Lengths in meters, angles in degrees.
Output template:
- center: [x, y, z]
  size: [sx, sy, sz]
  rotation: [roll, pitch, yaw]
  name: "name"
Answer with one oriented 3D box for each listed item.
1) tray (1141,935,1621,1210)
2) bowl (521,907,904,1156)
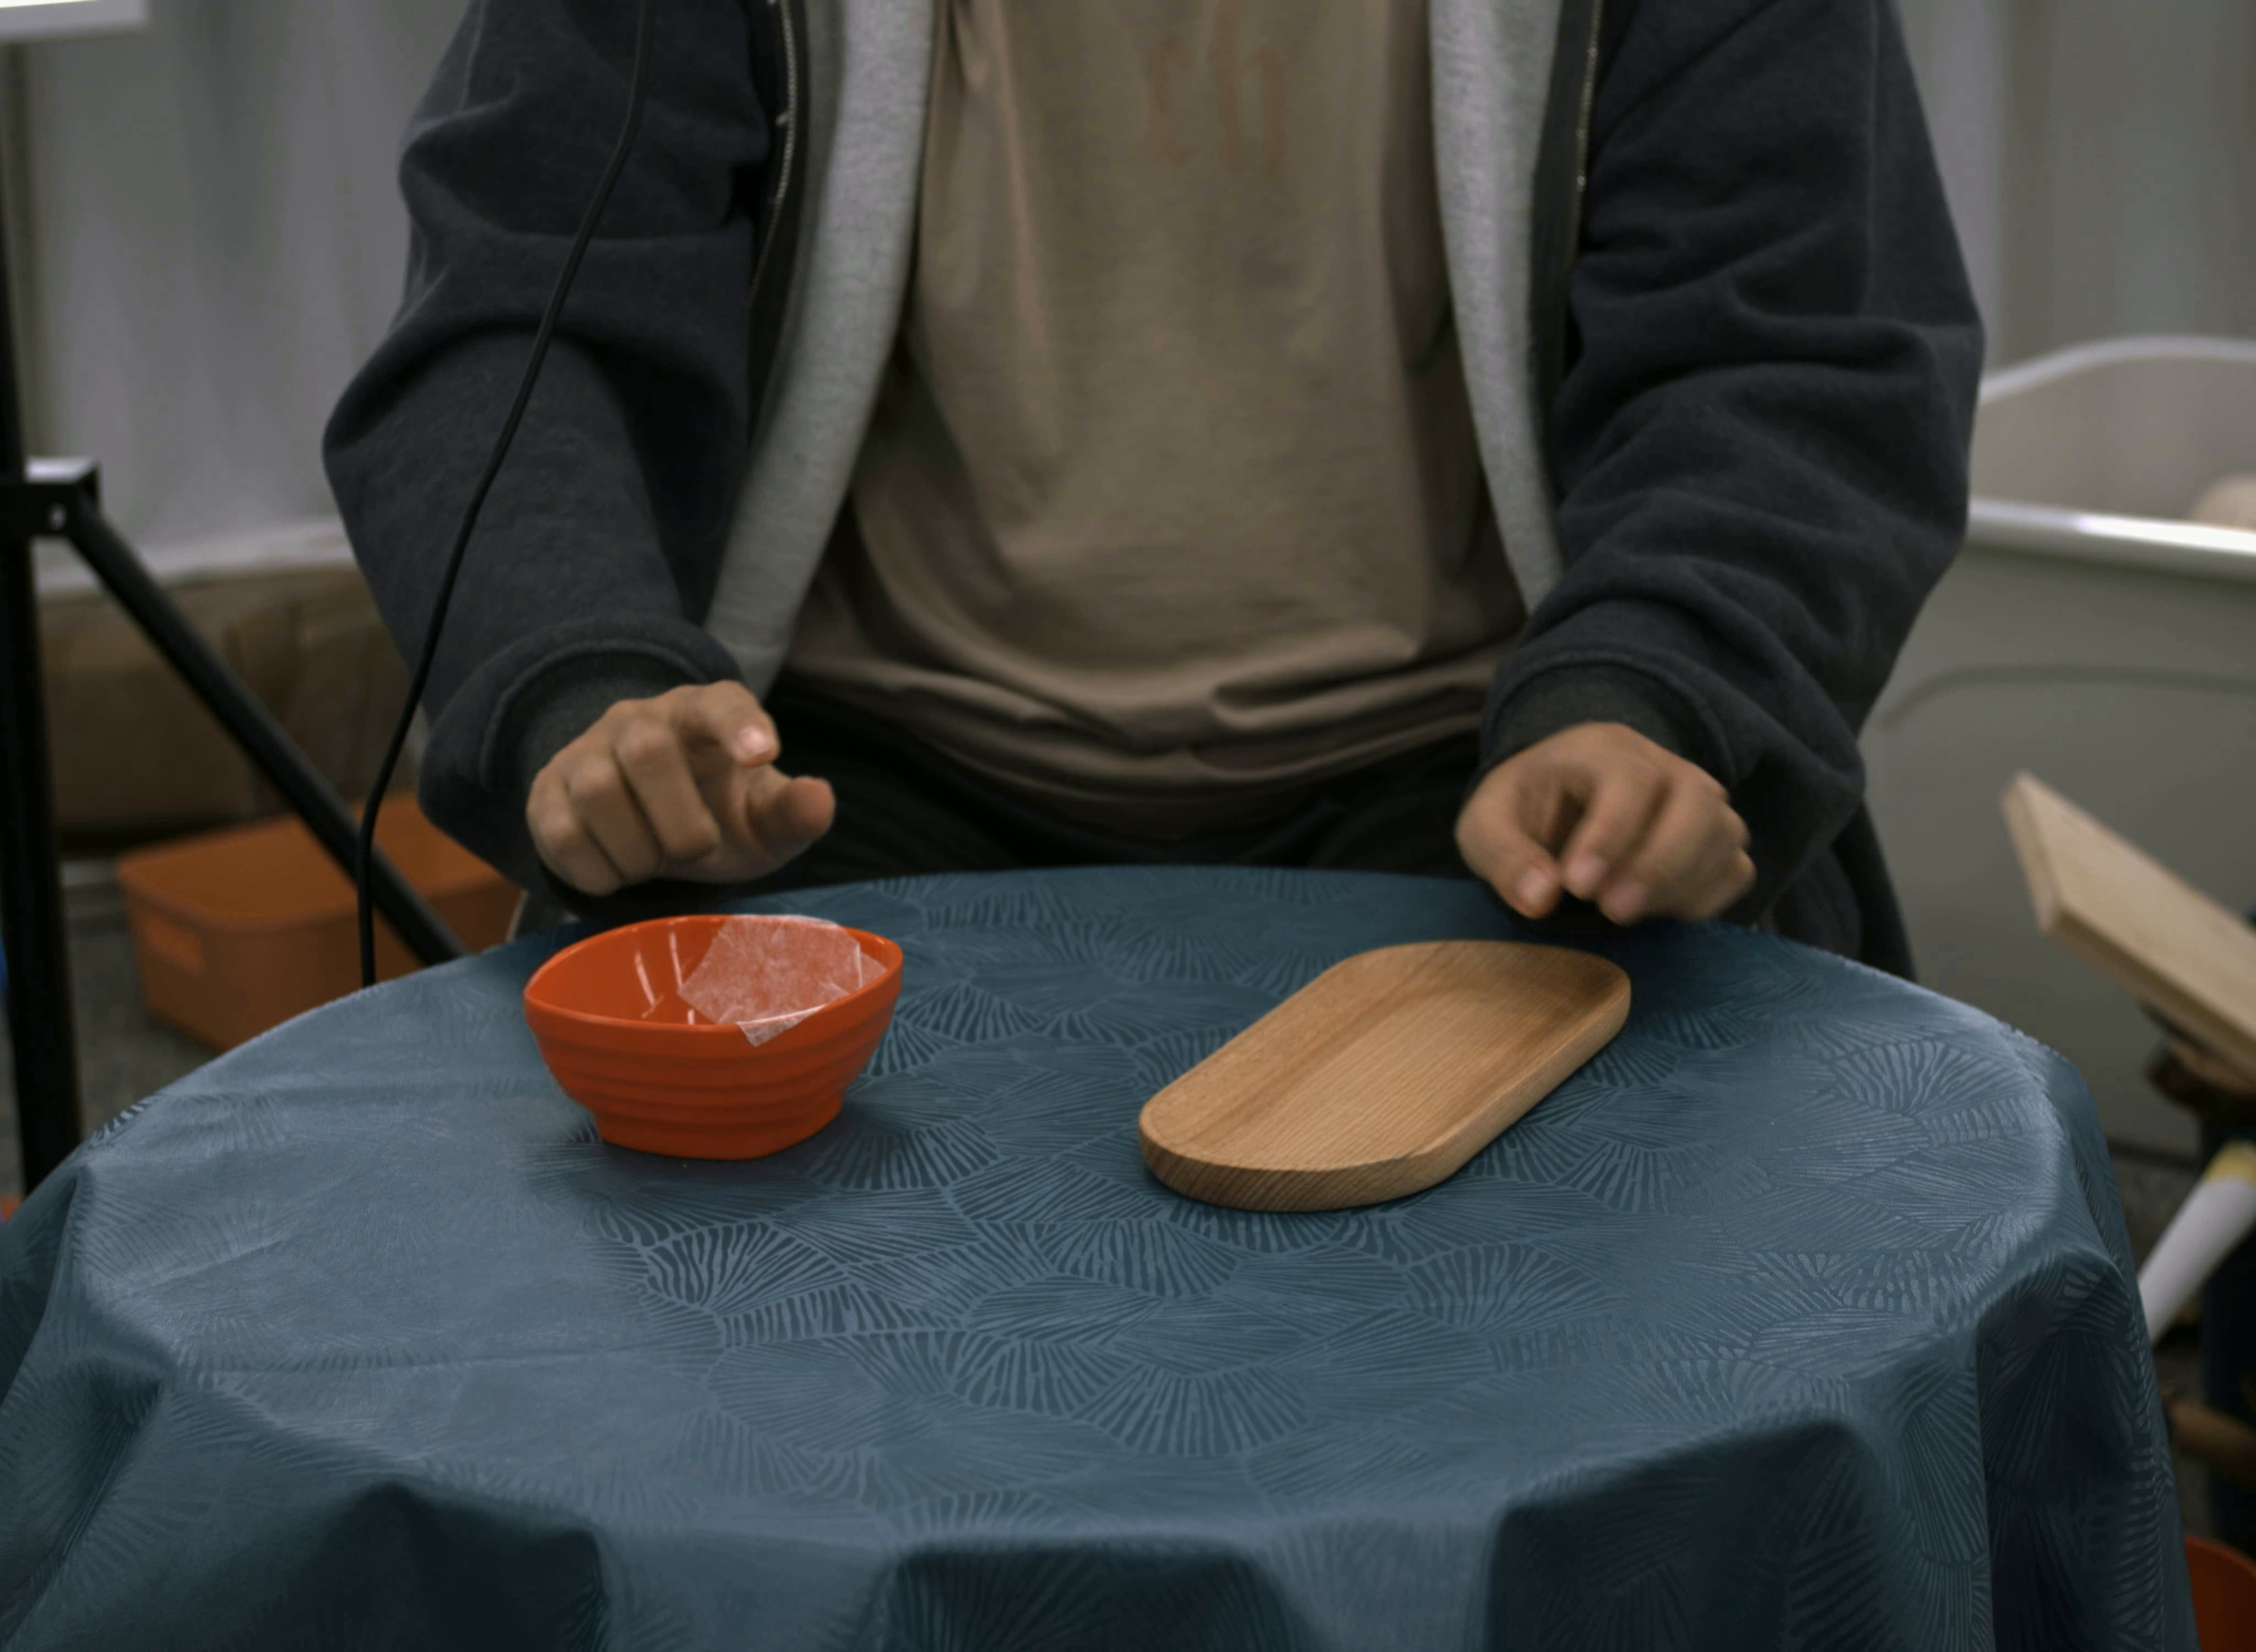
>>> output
- center: [0.081, 0.074, 1.636]
  size: [0.103, 0.020, 0.228]
  rotation: [6, 17, 24]
  name: "tray"
- center: [-0.125, 0.065, 1.634]
  size: [0.118, 0.051, 0.119]
  rotation: [-4, 16, 0]
  name: "bowl"
